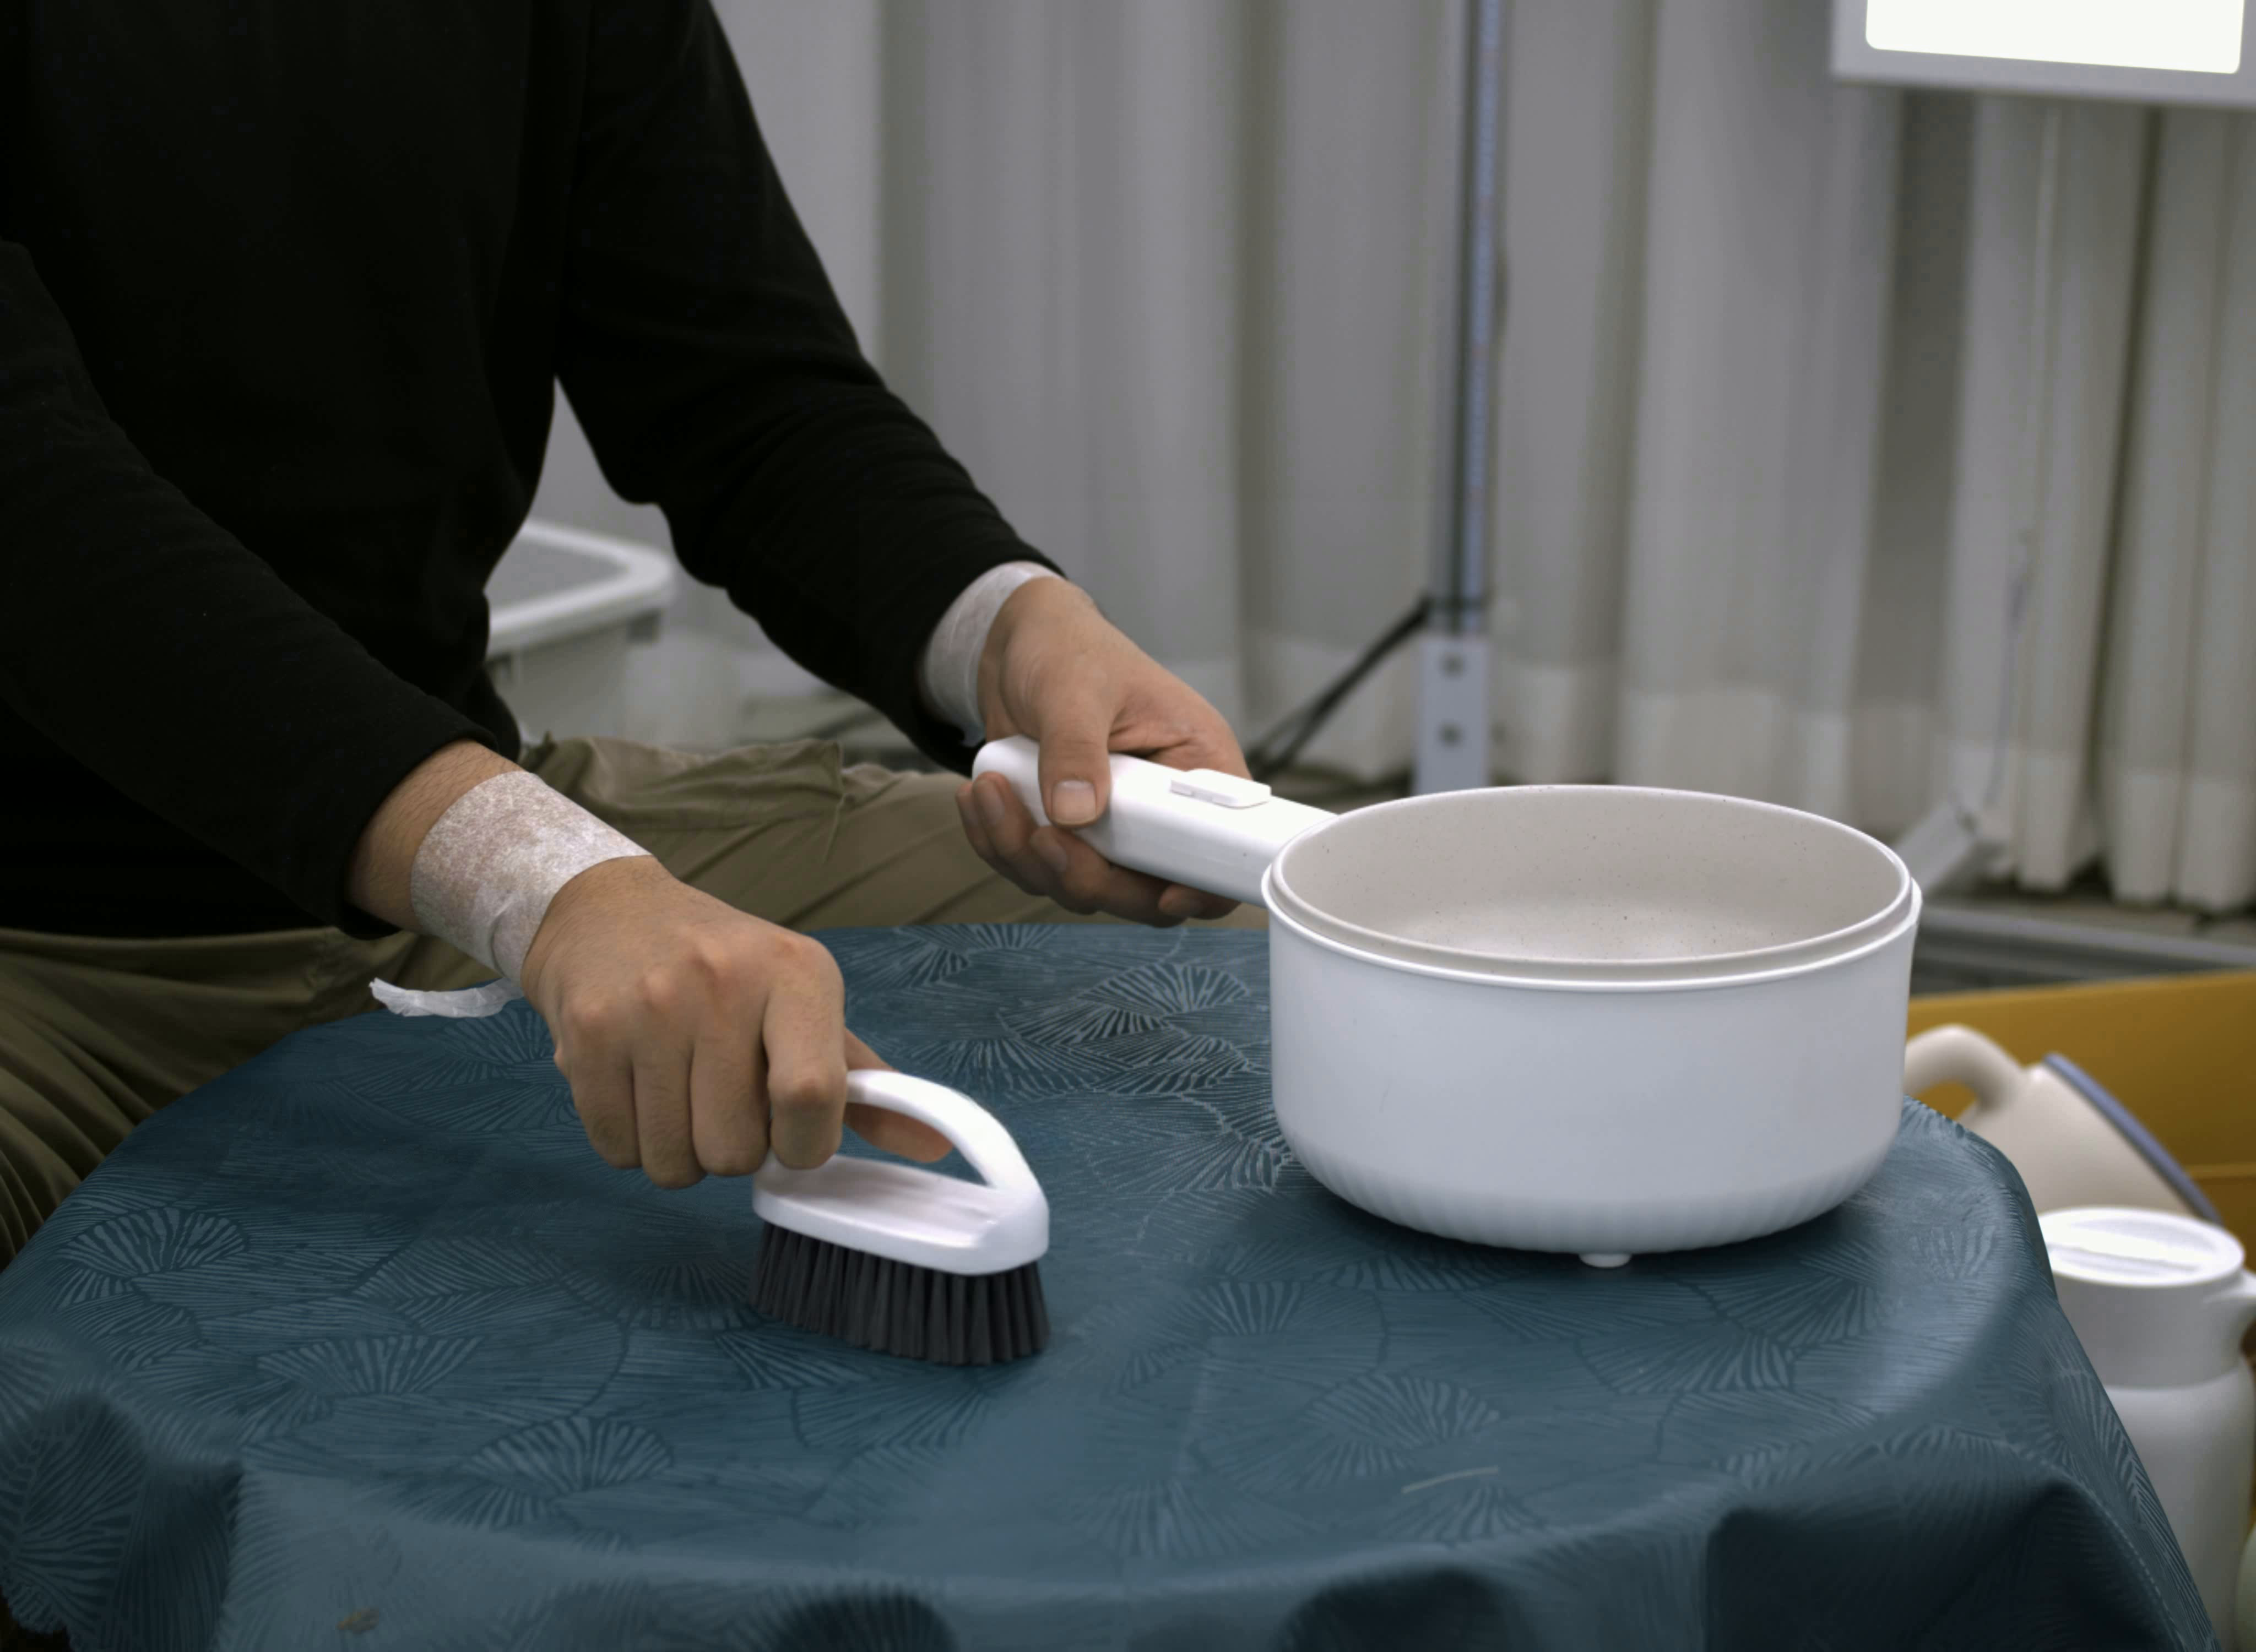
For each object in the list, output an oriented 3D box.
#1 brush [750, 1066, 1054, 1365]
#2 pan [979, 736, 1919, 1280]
[{"bbox_3d":[-0.066,0.106,1.502,0.098,0.073,0.050,13,23,38],"label":"brush"},{"bbox_3d":[0.087,0.050,1.671,0.350,0.103,0.202,15,23,42],"label":"pan"}]
